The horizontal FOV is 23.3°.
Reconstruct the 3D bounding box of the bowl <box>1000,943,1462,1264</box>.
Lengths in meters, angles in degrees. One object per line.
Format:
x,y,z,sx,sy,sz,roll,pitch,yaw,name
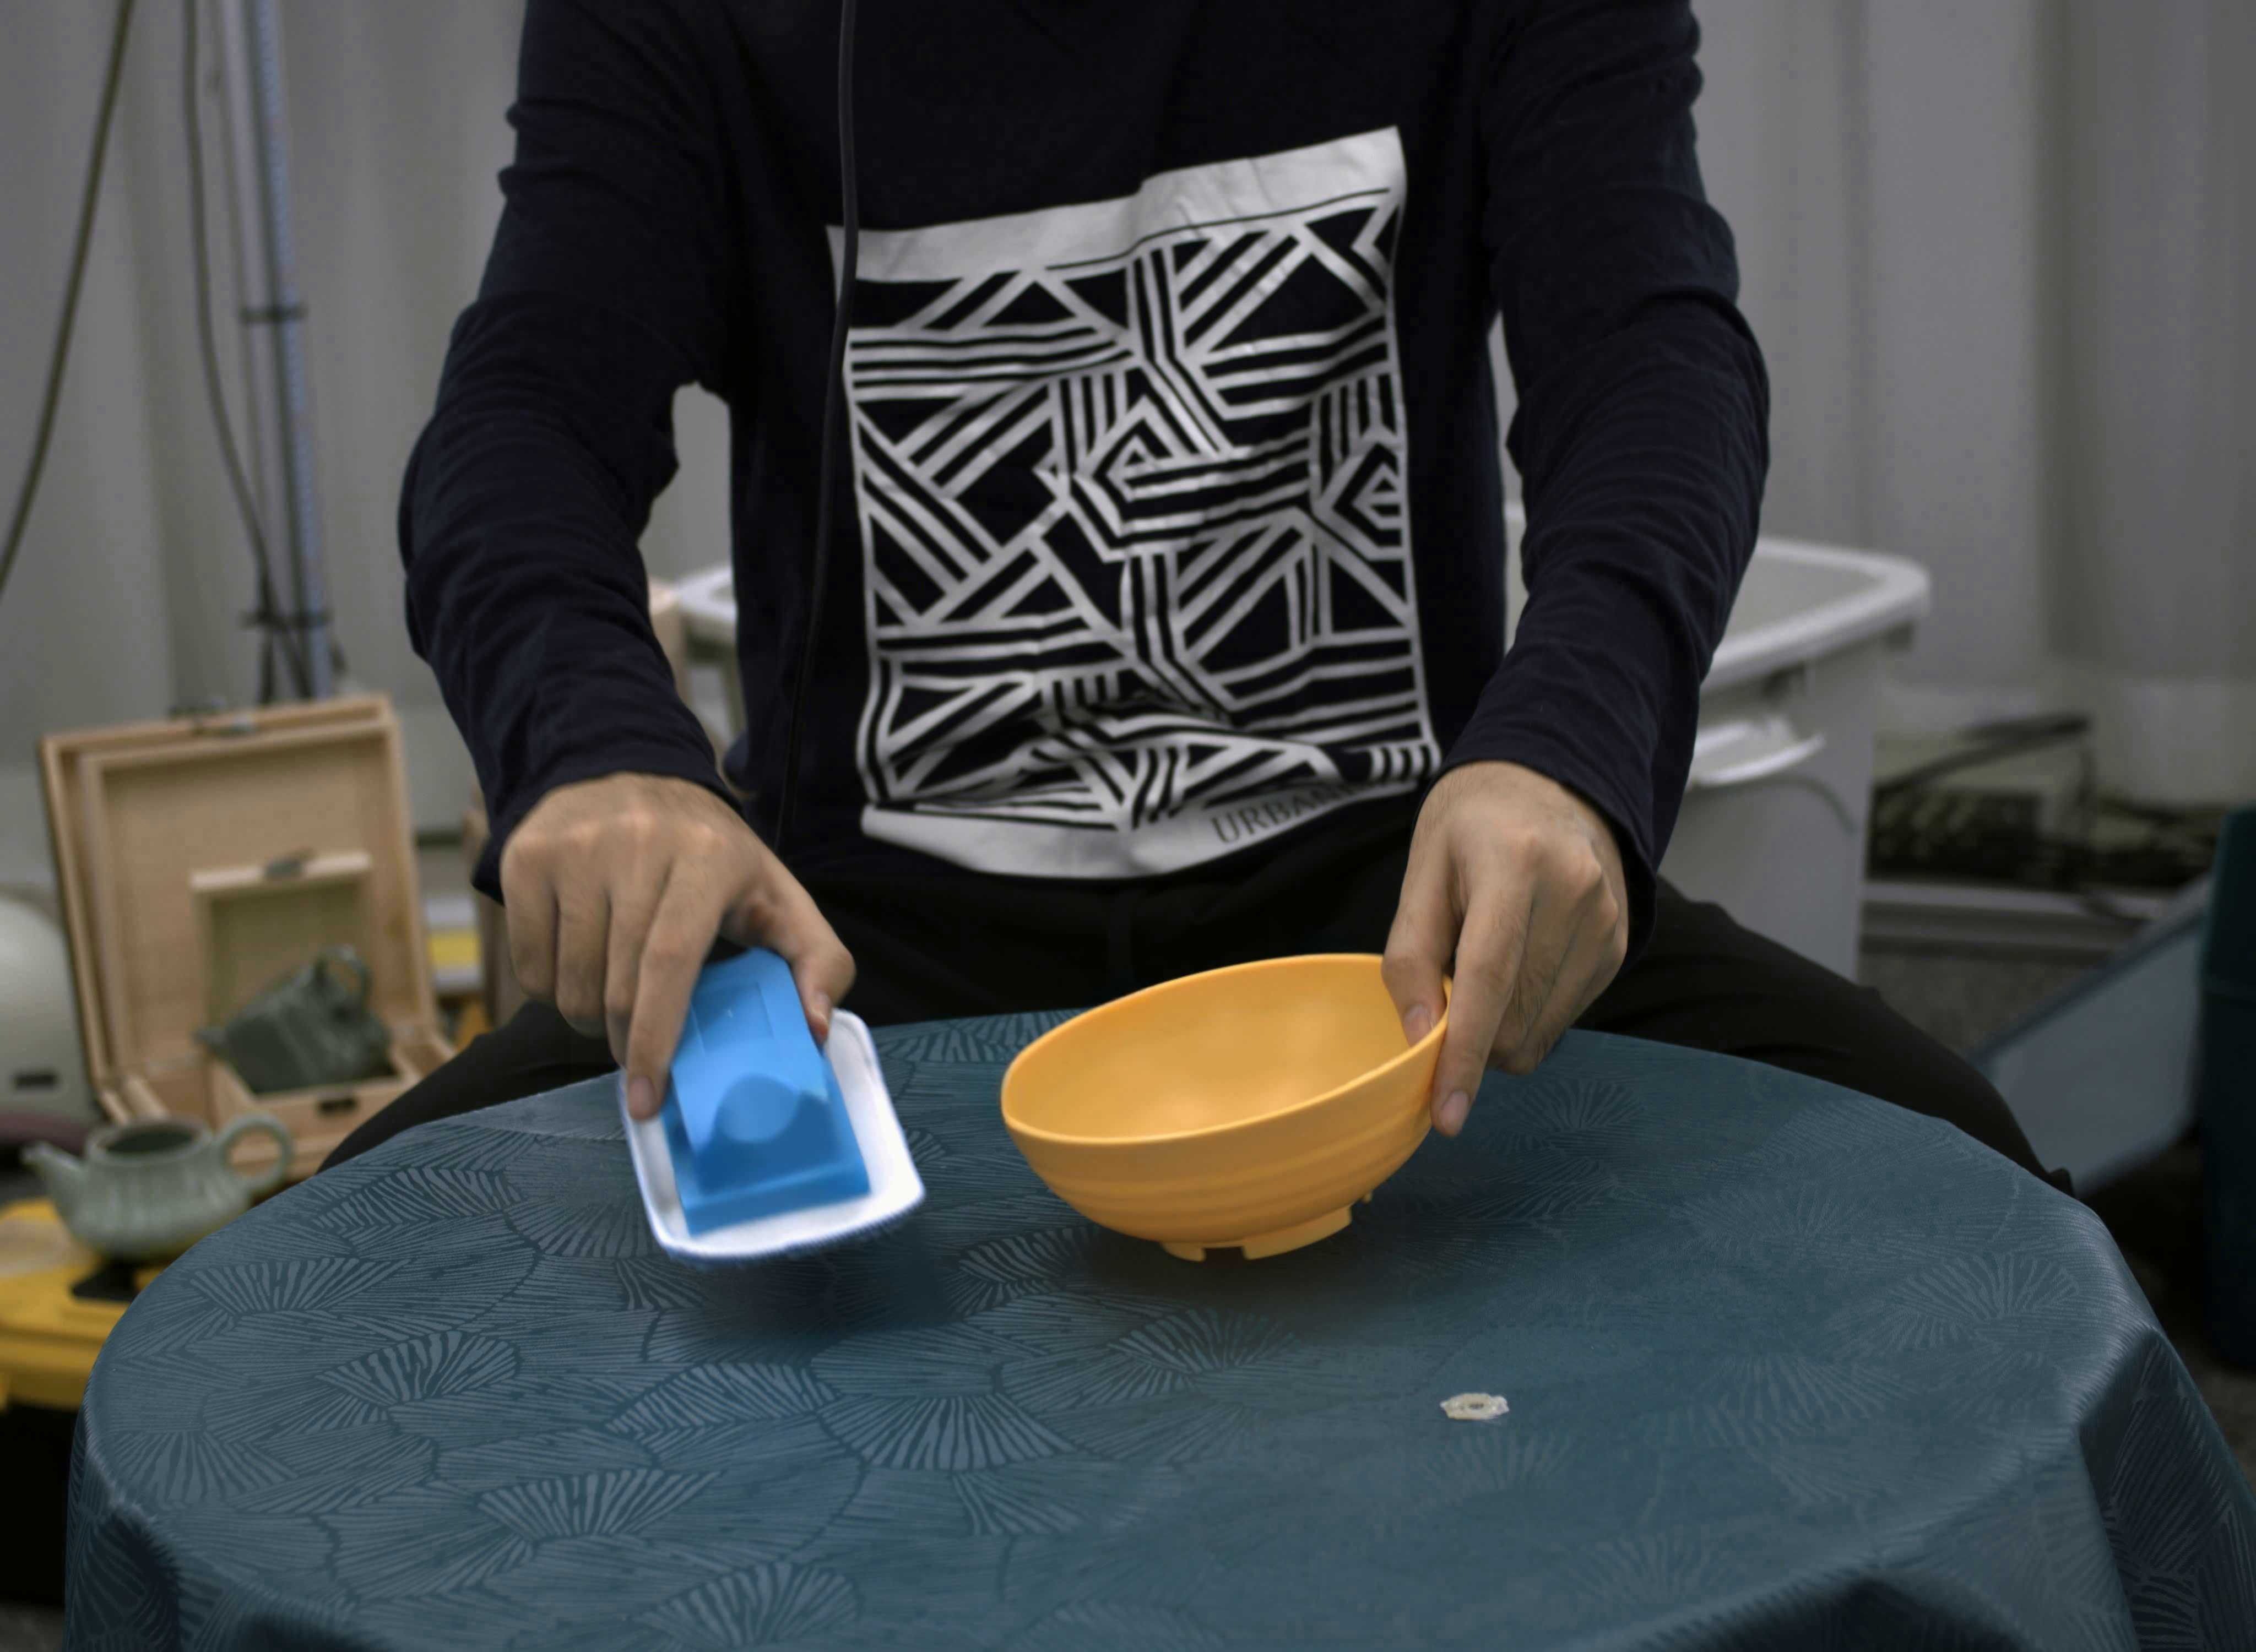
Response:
0.037,0.092,1.660,0.145,0.060,0.146,-13,19,4,bowl

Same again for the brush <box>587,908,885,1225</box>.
-0.119,0.068,1.652,0.083,0.055,0.146,-8,27,-7,brush
